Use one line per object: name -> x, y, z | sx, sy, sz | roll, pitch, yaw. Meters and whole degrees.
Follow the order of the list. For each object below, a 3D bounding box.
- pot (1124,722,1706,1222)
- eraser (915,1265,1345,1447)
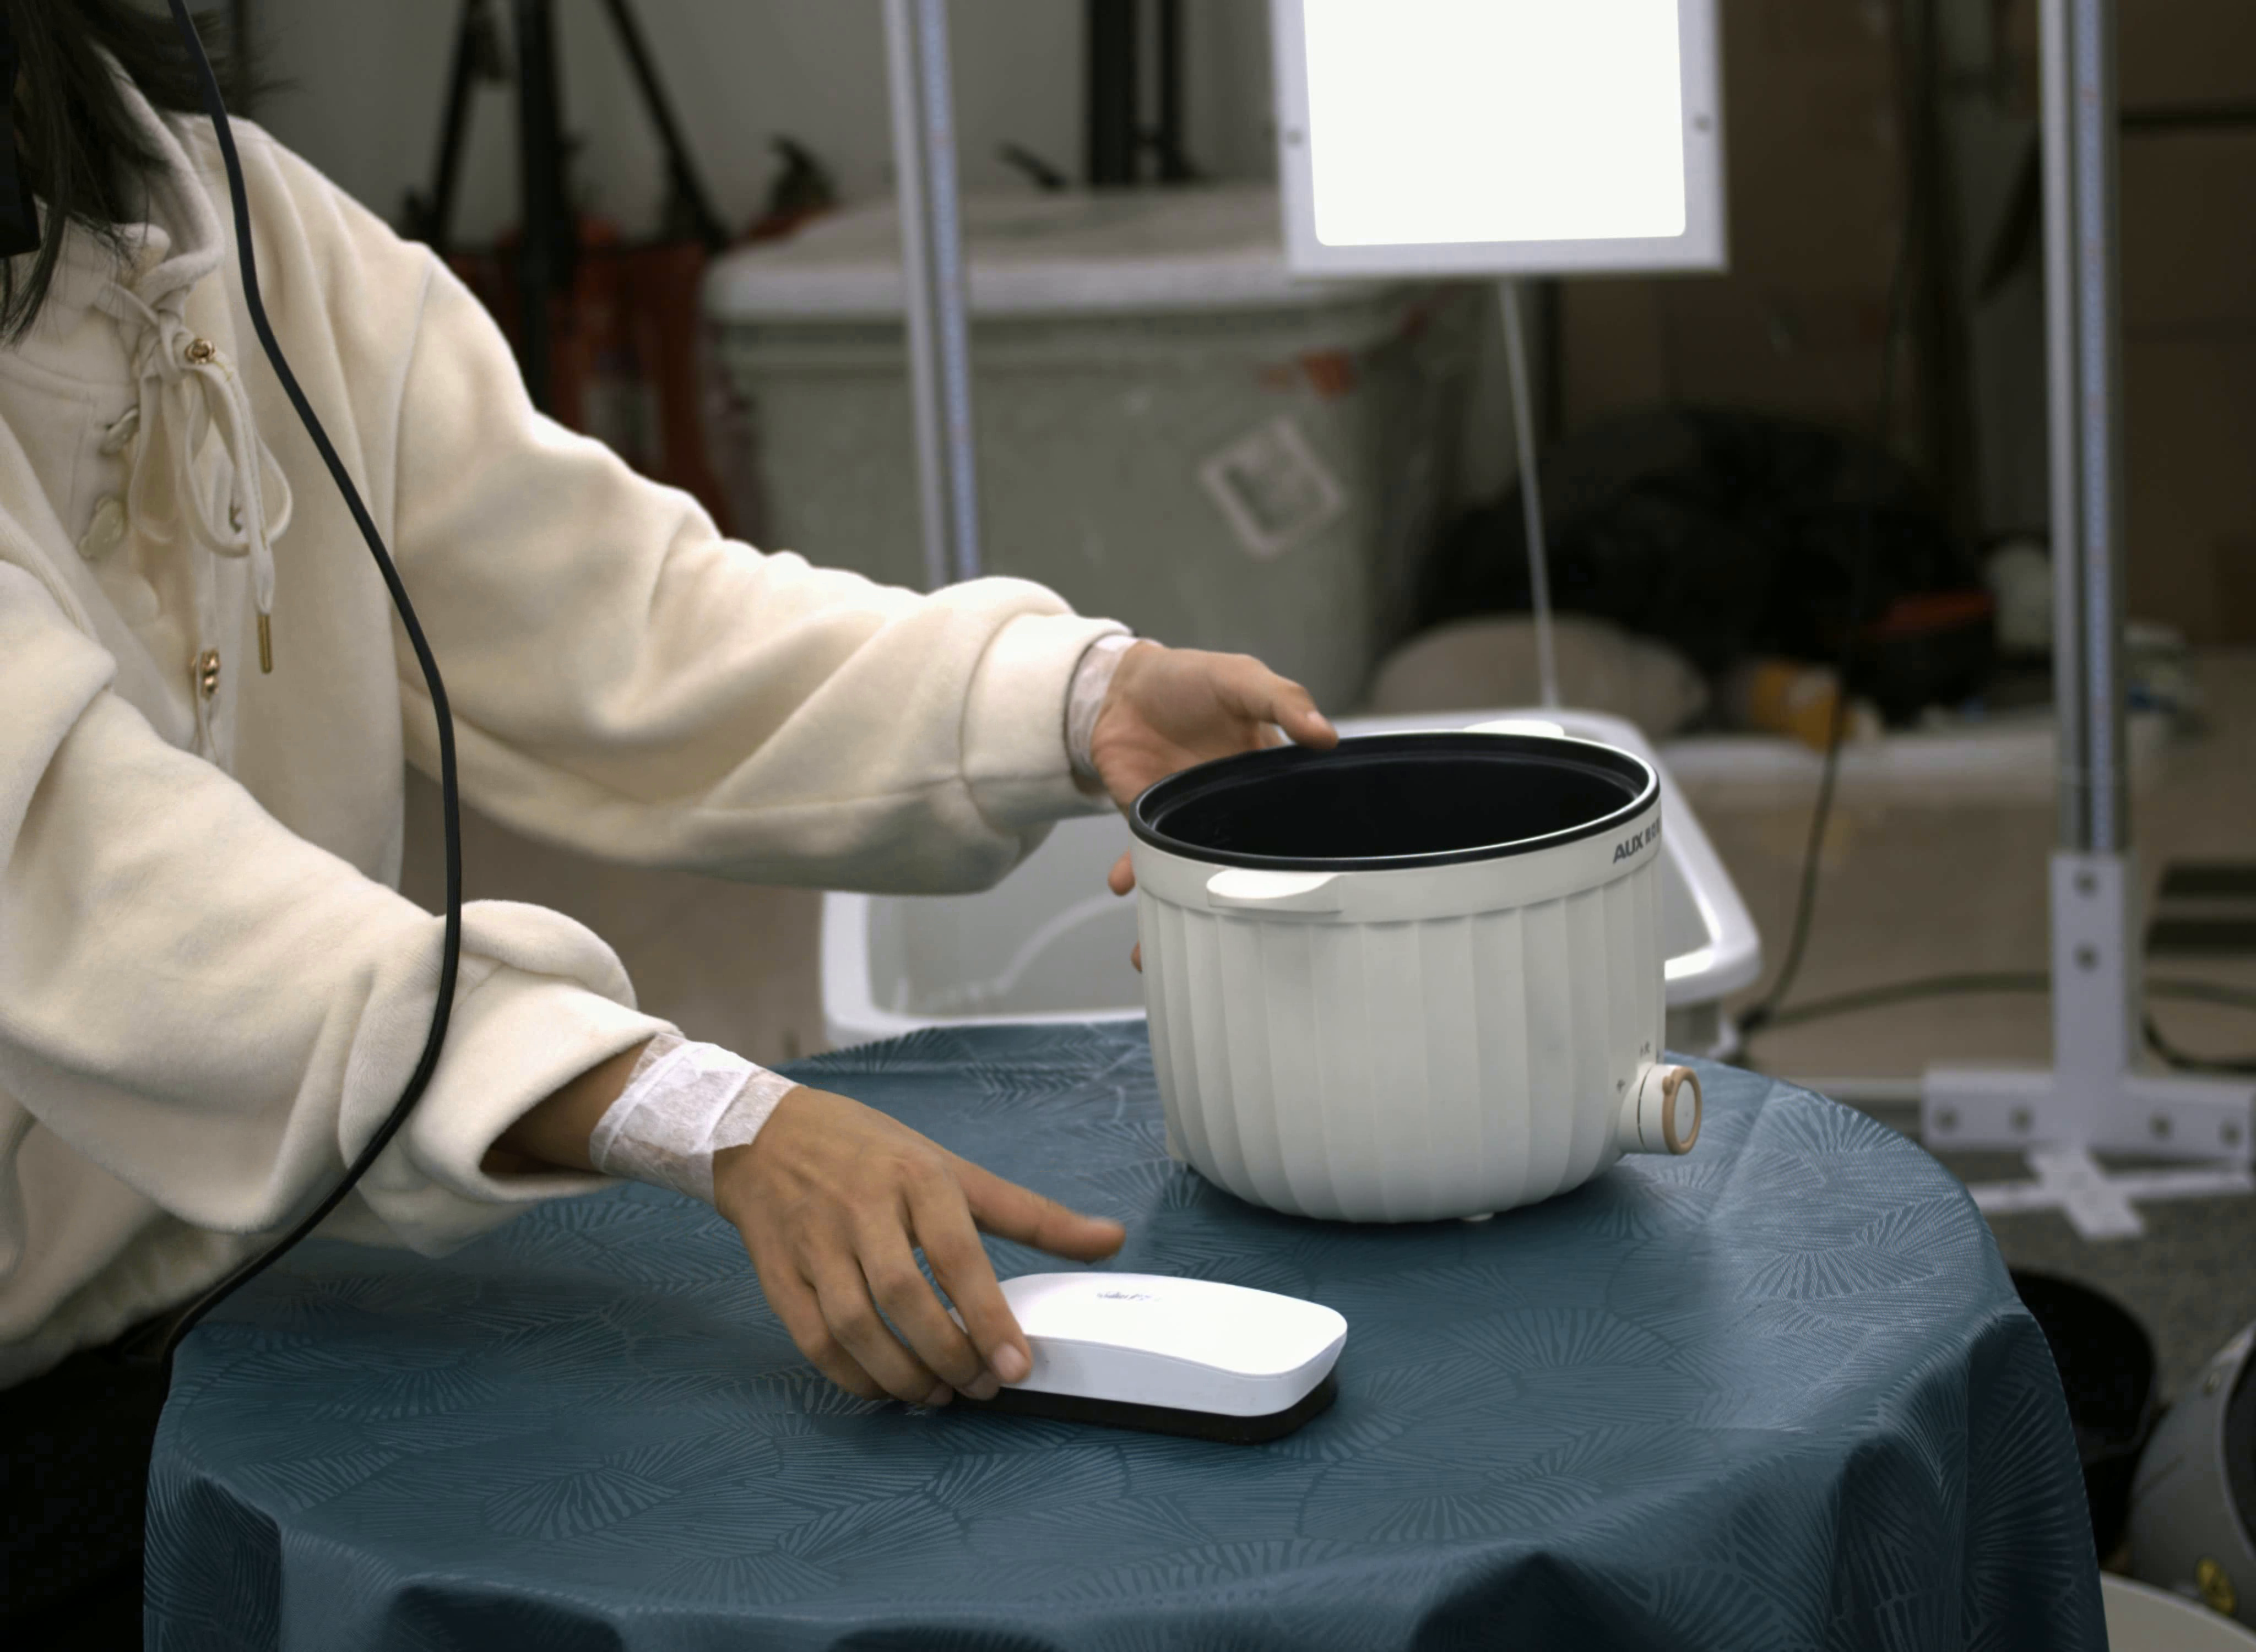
pot -> 0.100, 0.052, 1.871 | 0.194, 0.143, 0.235 | -1, 15, 28
eraser -> 0.001, 0.162, 1.692 | 0.134, 0.034, 0.062 | 4, 14, 32
